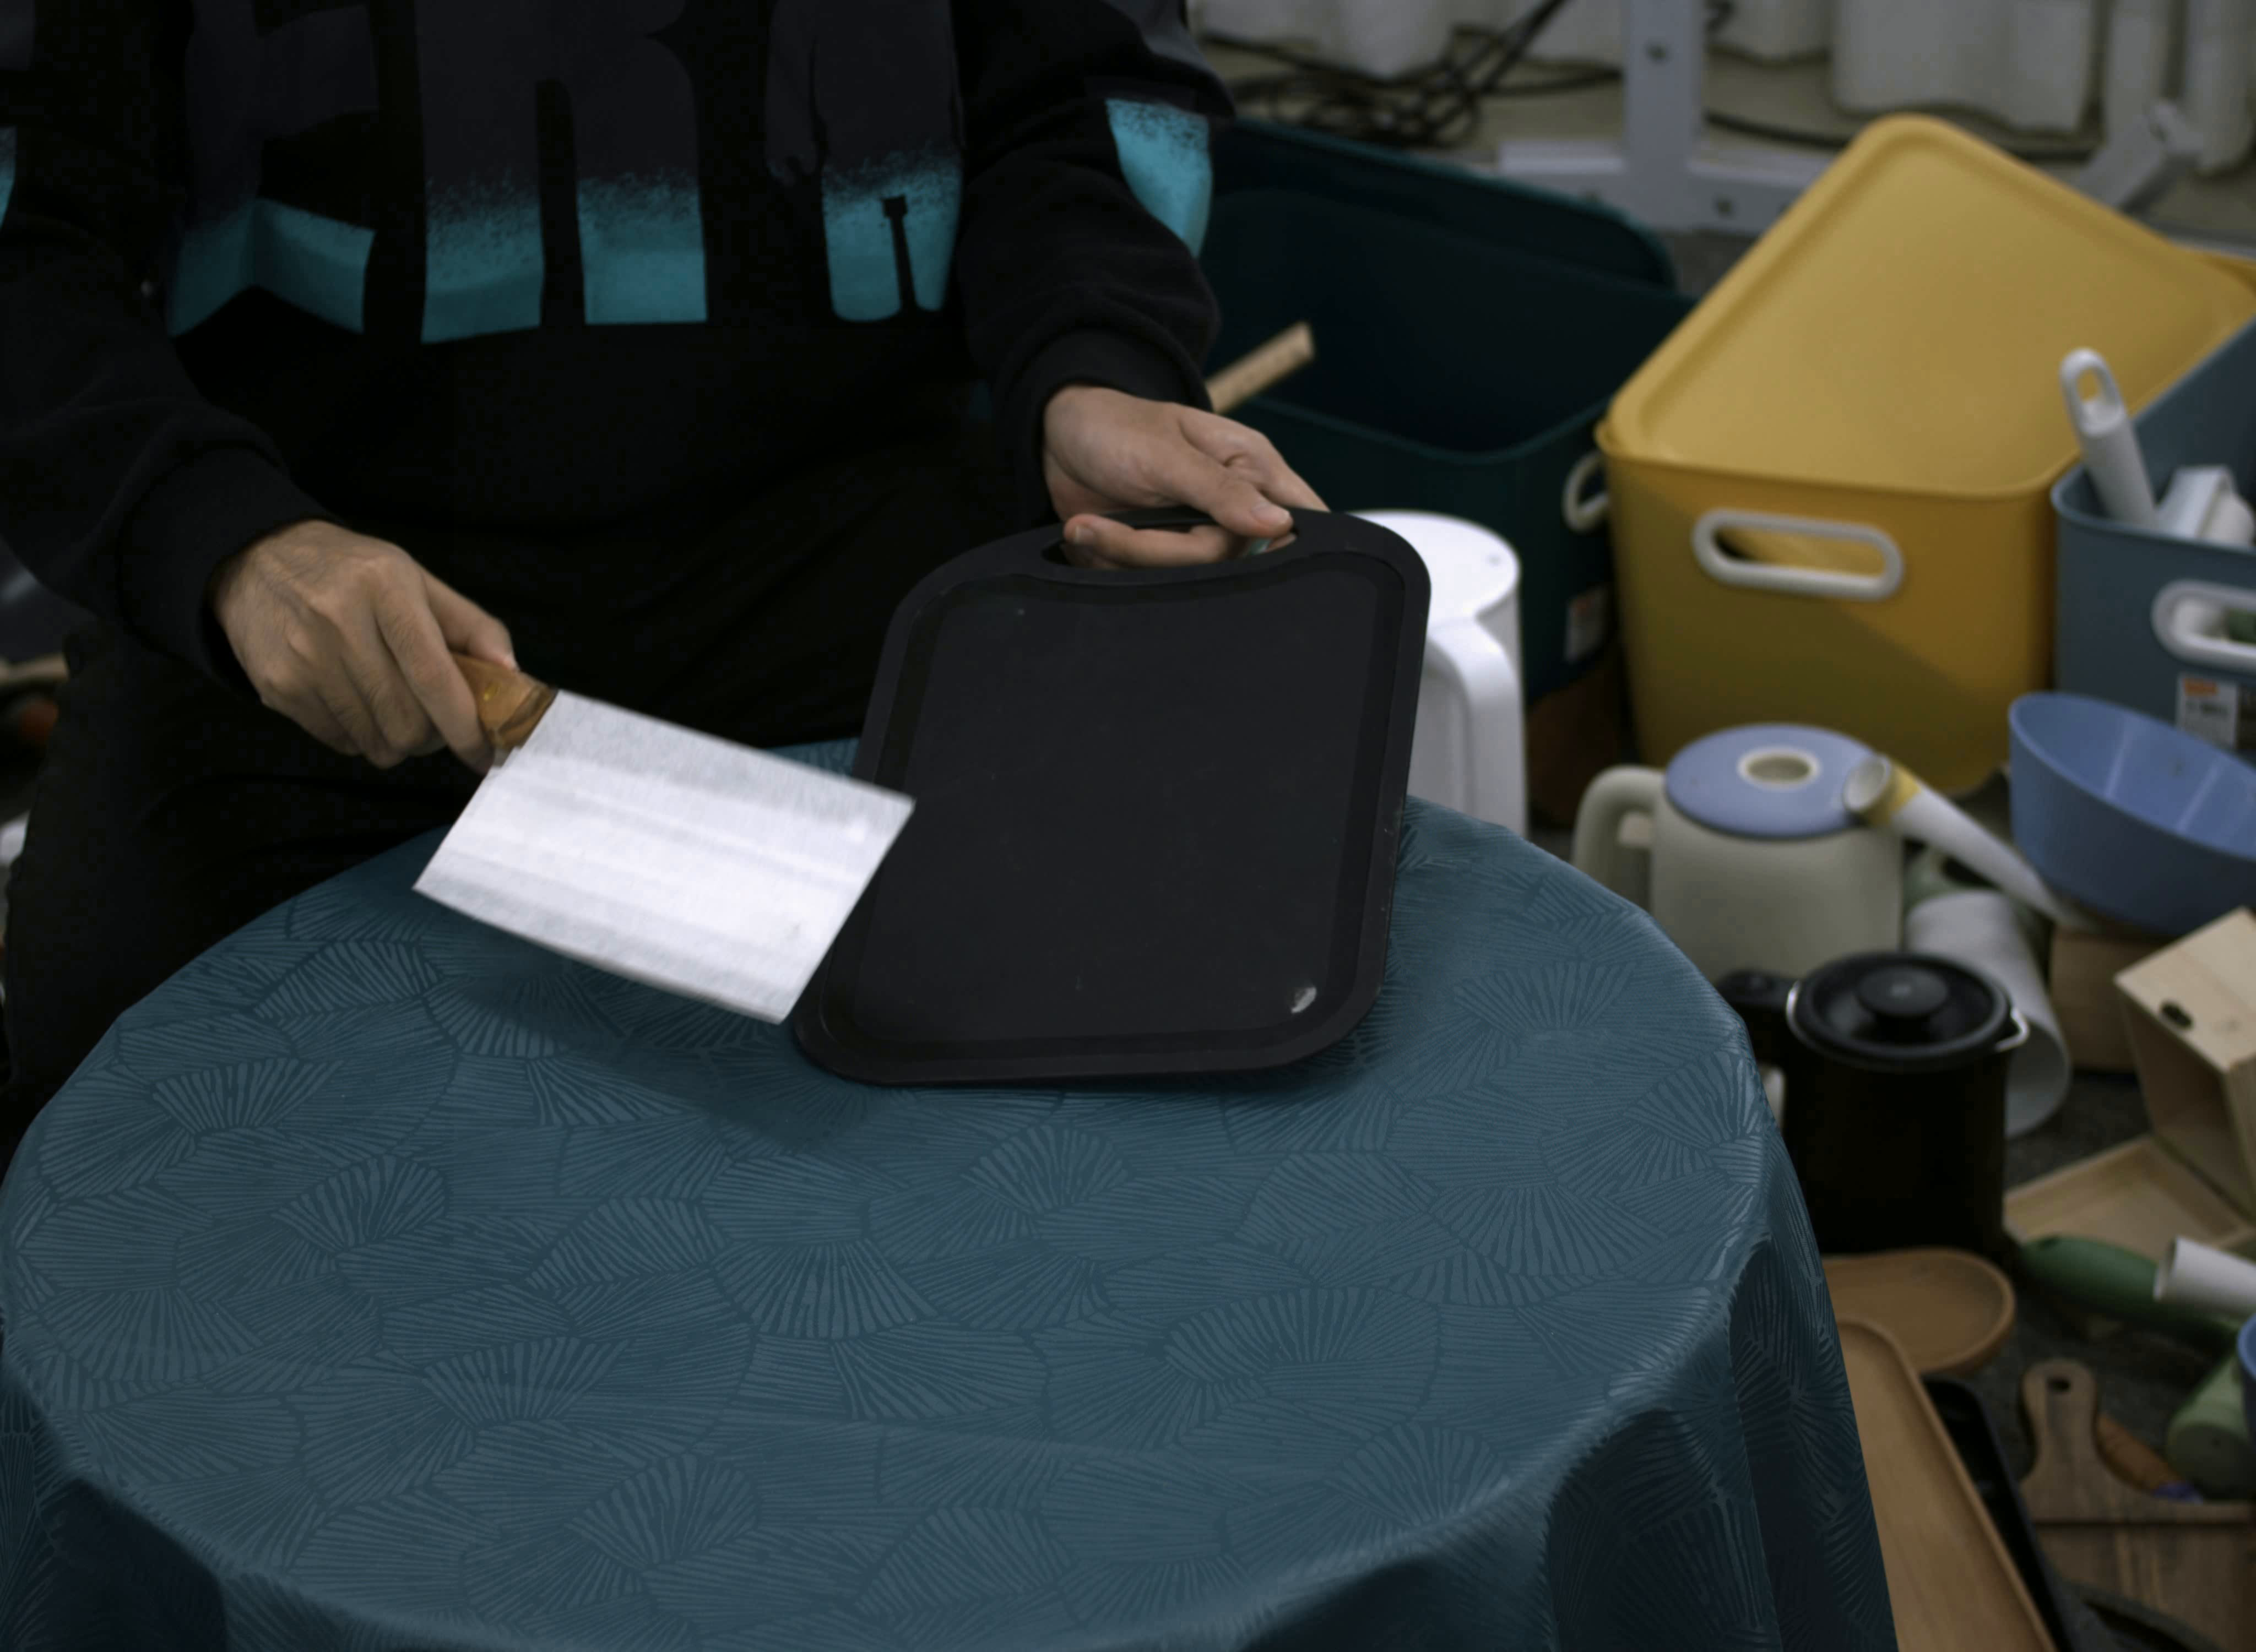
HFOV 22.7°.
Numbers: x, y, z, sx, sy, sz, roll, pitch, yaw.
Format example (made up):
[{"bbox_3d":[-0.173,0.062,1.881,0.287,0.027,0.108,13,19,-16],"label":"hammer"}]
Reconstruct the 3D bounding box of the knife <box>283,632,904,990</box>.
[{"bbox_3d":[-0.206,-0.003,1.987,0.304,0.021,0.094,18,66,39],"label":"knife"}]

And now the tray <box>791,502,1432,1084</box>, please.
[{"bbox_3d":[-0.002,-0.020,2.043,0.209,0.009,0.332,-3,39,11],"label":"tray"}]
